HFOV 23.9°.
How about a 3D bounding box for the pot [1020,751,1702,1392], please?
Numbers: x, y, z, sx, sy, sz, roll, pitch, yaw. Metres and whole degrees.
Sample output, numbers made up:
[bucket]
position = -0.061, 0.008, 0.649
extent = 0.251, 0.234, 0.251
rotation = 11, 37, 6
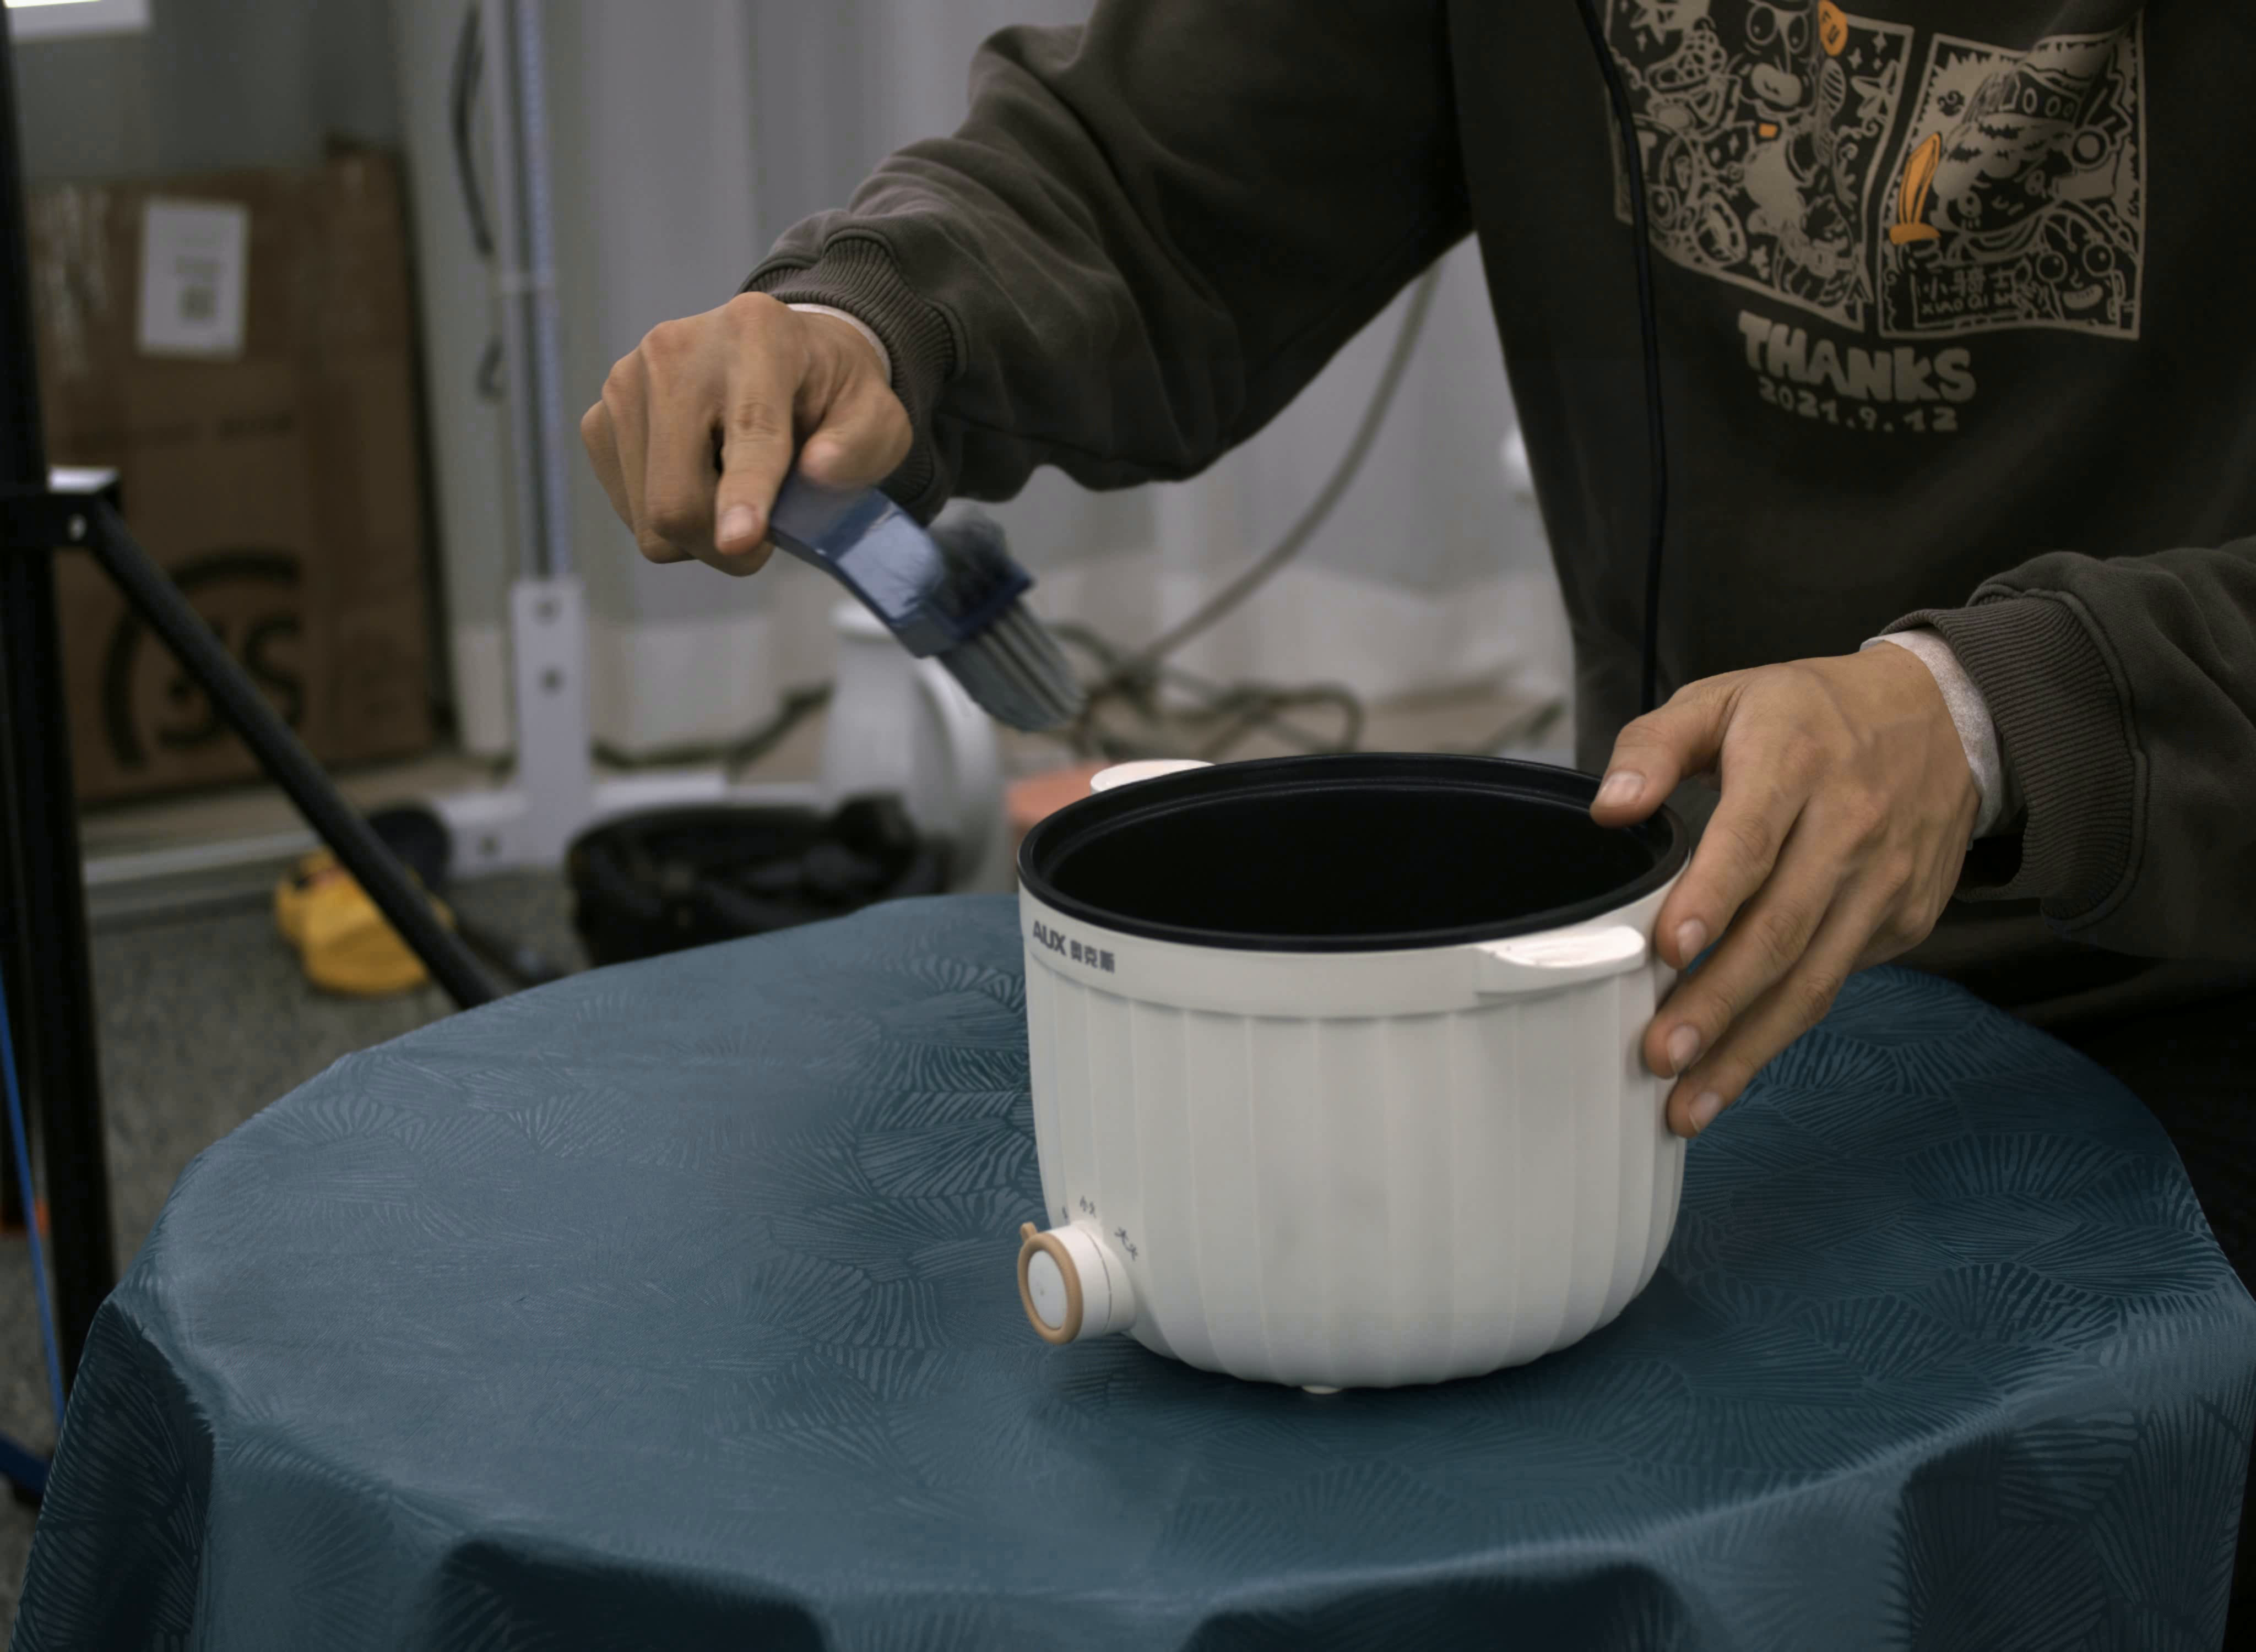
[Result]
[pot]
position = 0.059, 0.068, 1.436
extent = 0.186, 0.143, 0.245
rotation = -8, 15, -30

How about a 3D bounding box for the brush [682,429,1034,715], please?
[brush]
position = -0.083, -0.087, 1.455
extent = 0.033, 0.094, 0.278
rotation = -41, 28, -7
